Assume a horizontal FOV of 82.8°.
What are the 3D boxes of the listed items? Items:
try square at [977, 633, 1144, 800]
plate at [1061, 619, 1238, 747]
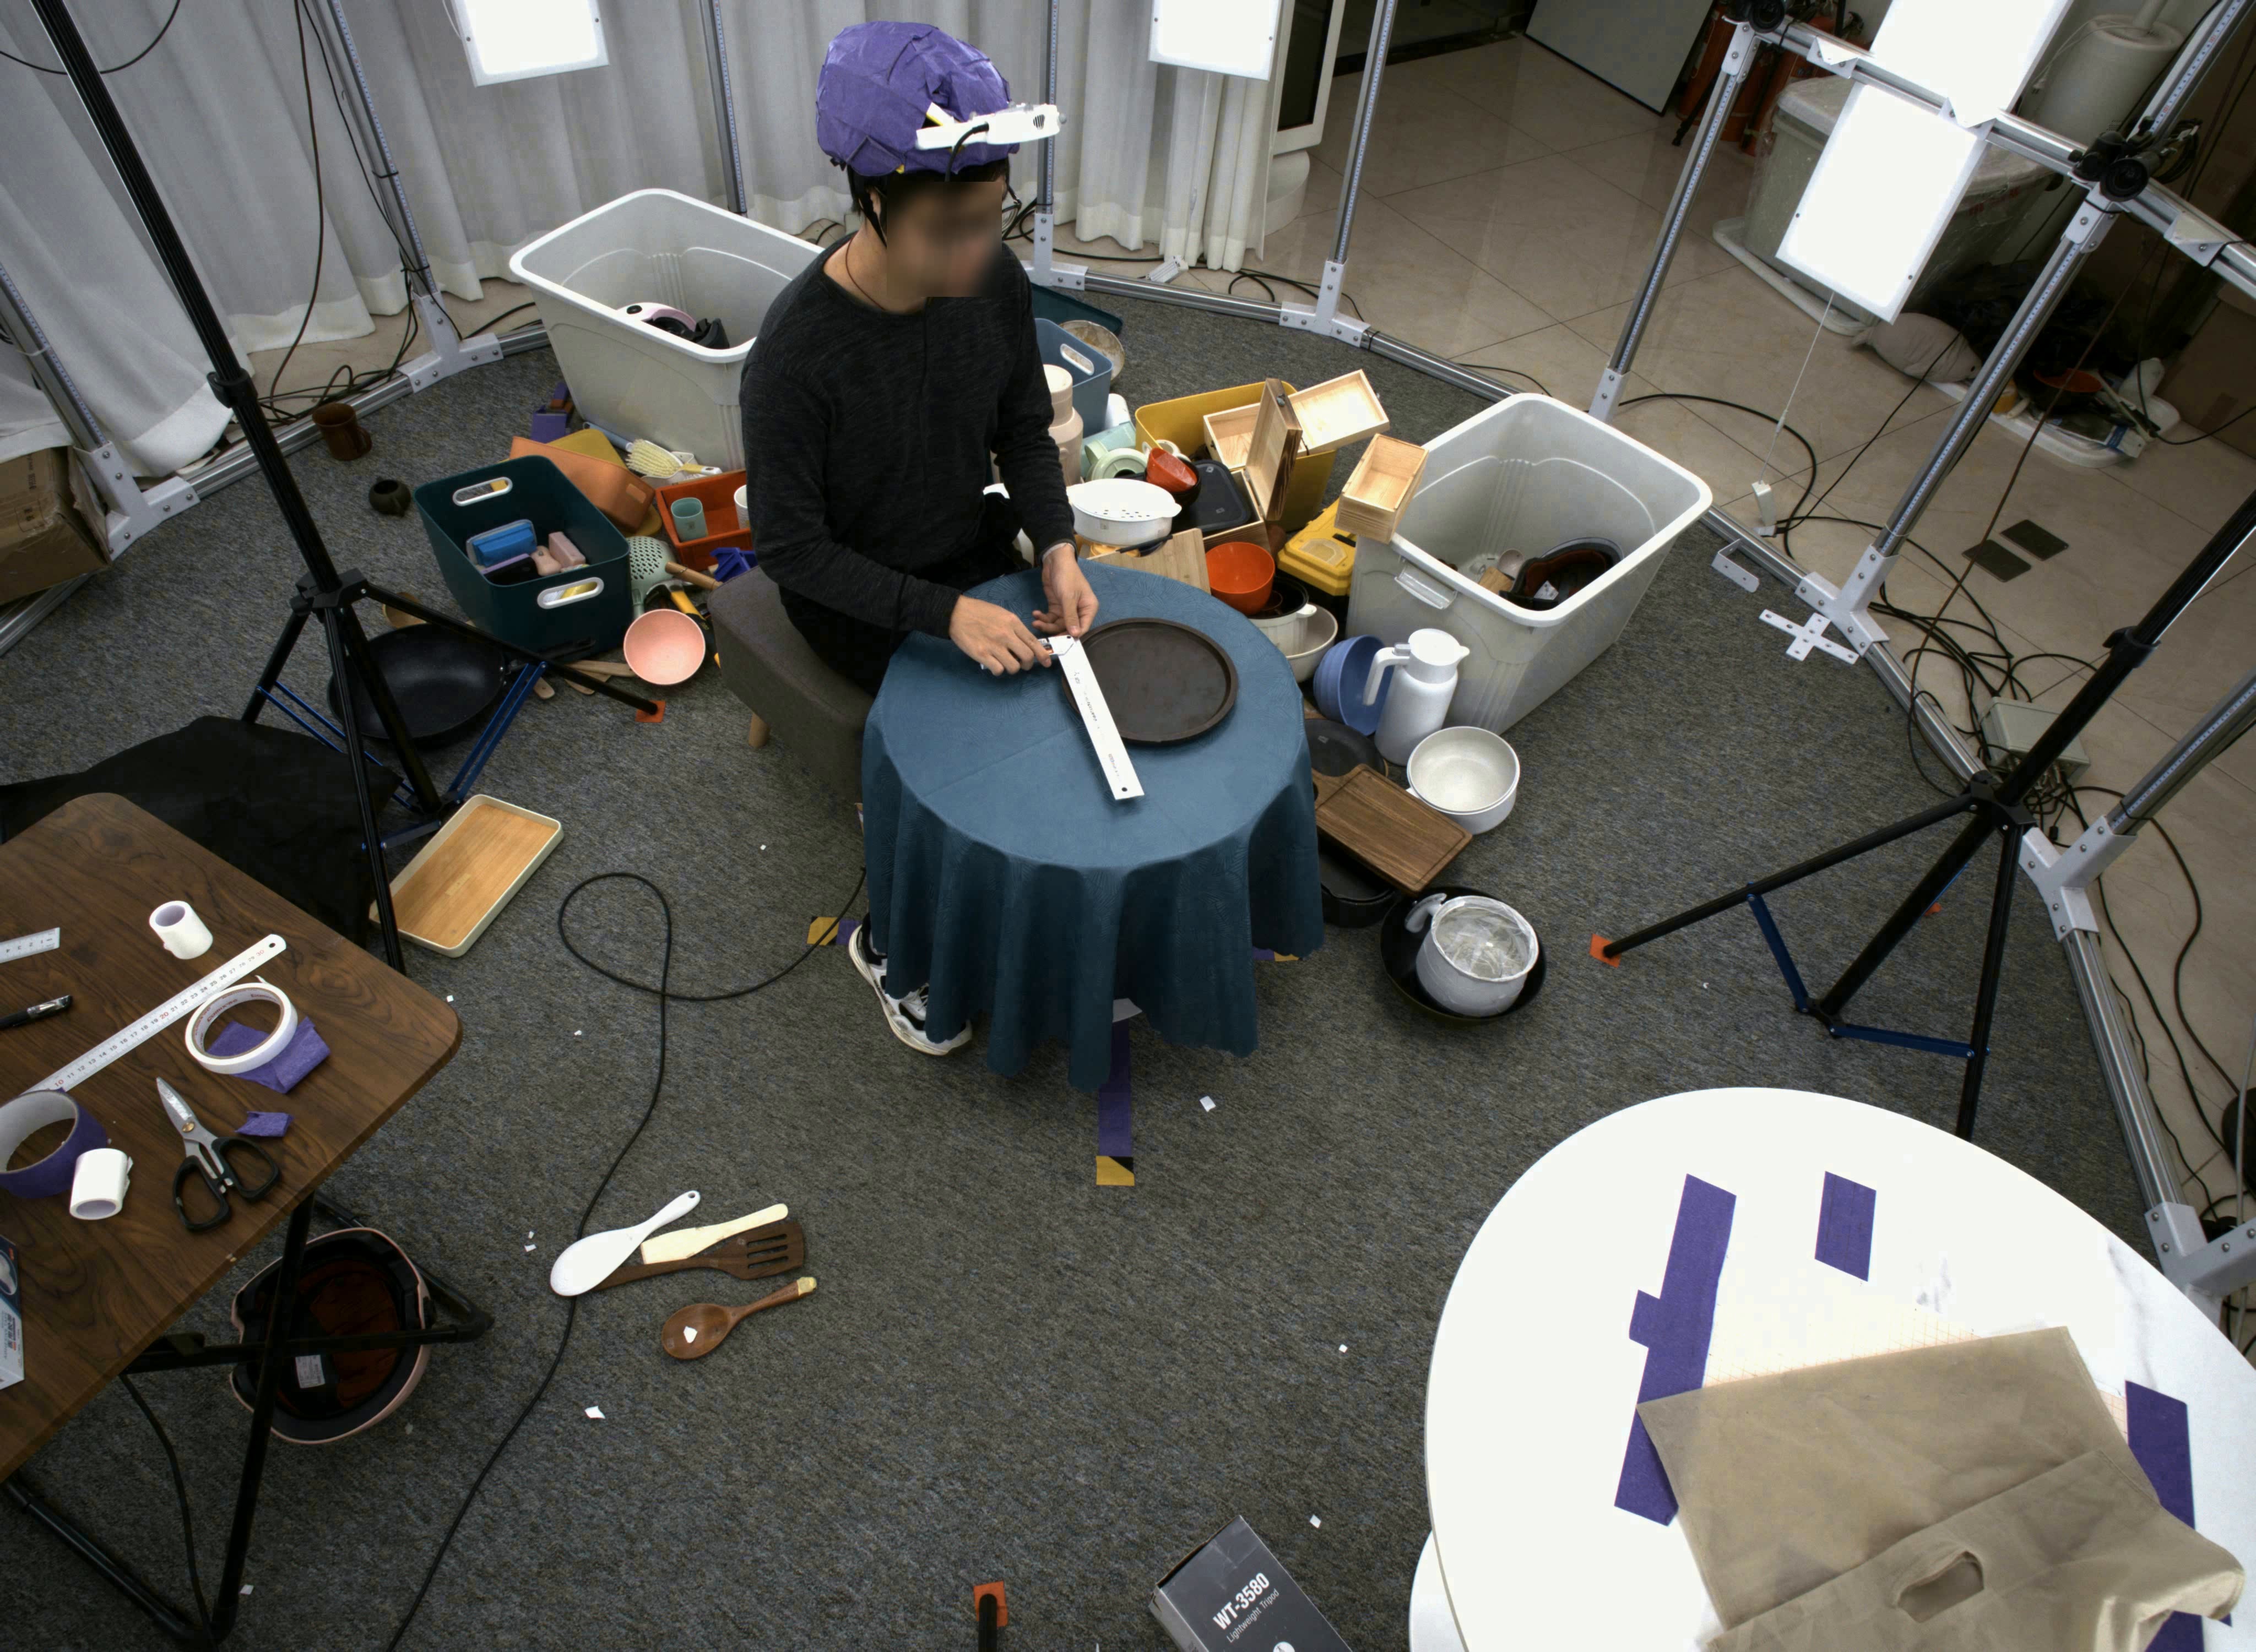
[{"bbox_3d":[-0.097,-0.147,1.759,0.152,0.015,0.320,-11,52,-14],"label":"try square"},{"bbox_3d":[0.031,-0.207,1.836,0.254,0.028,0.261,2,50,-3],"label":"plate"}]
